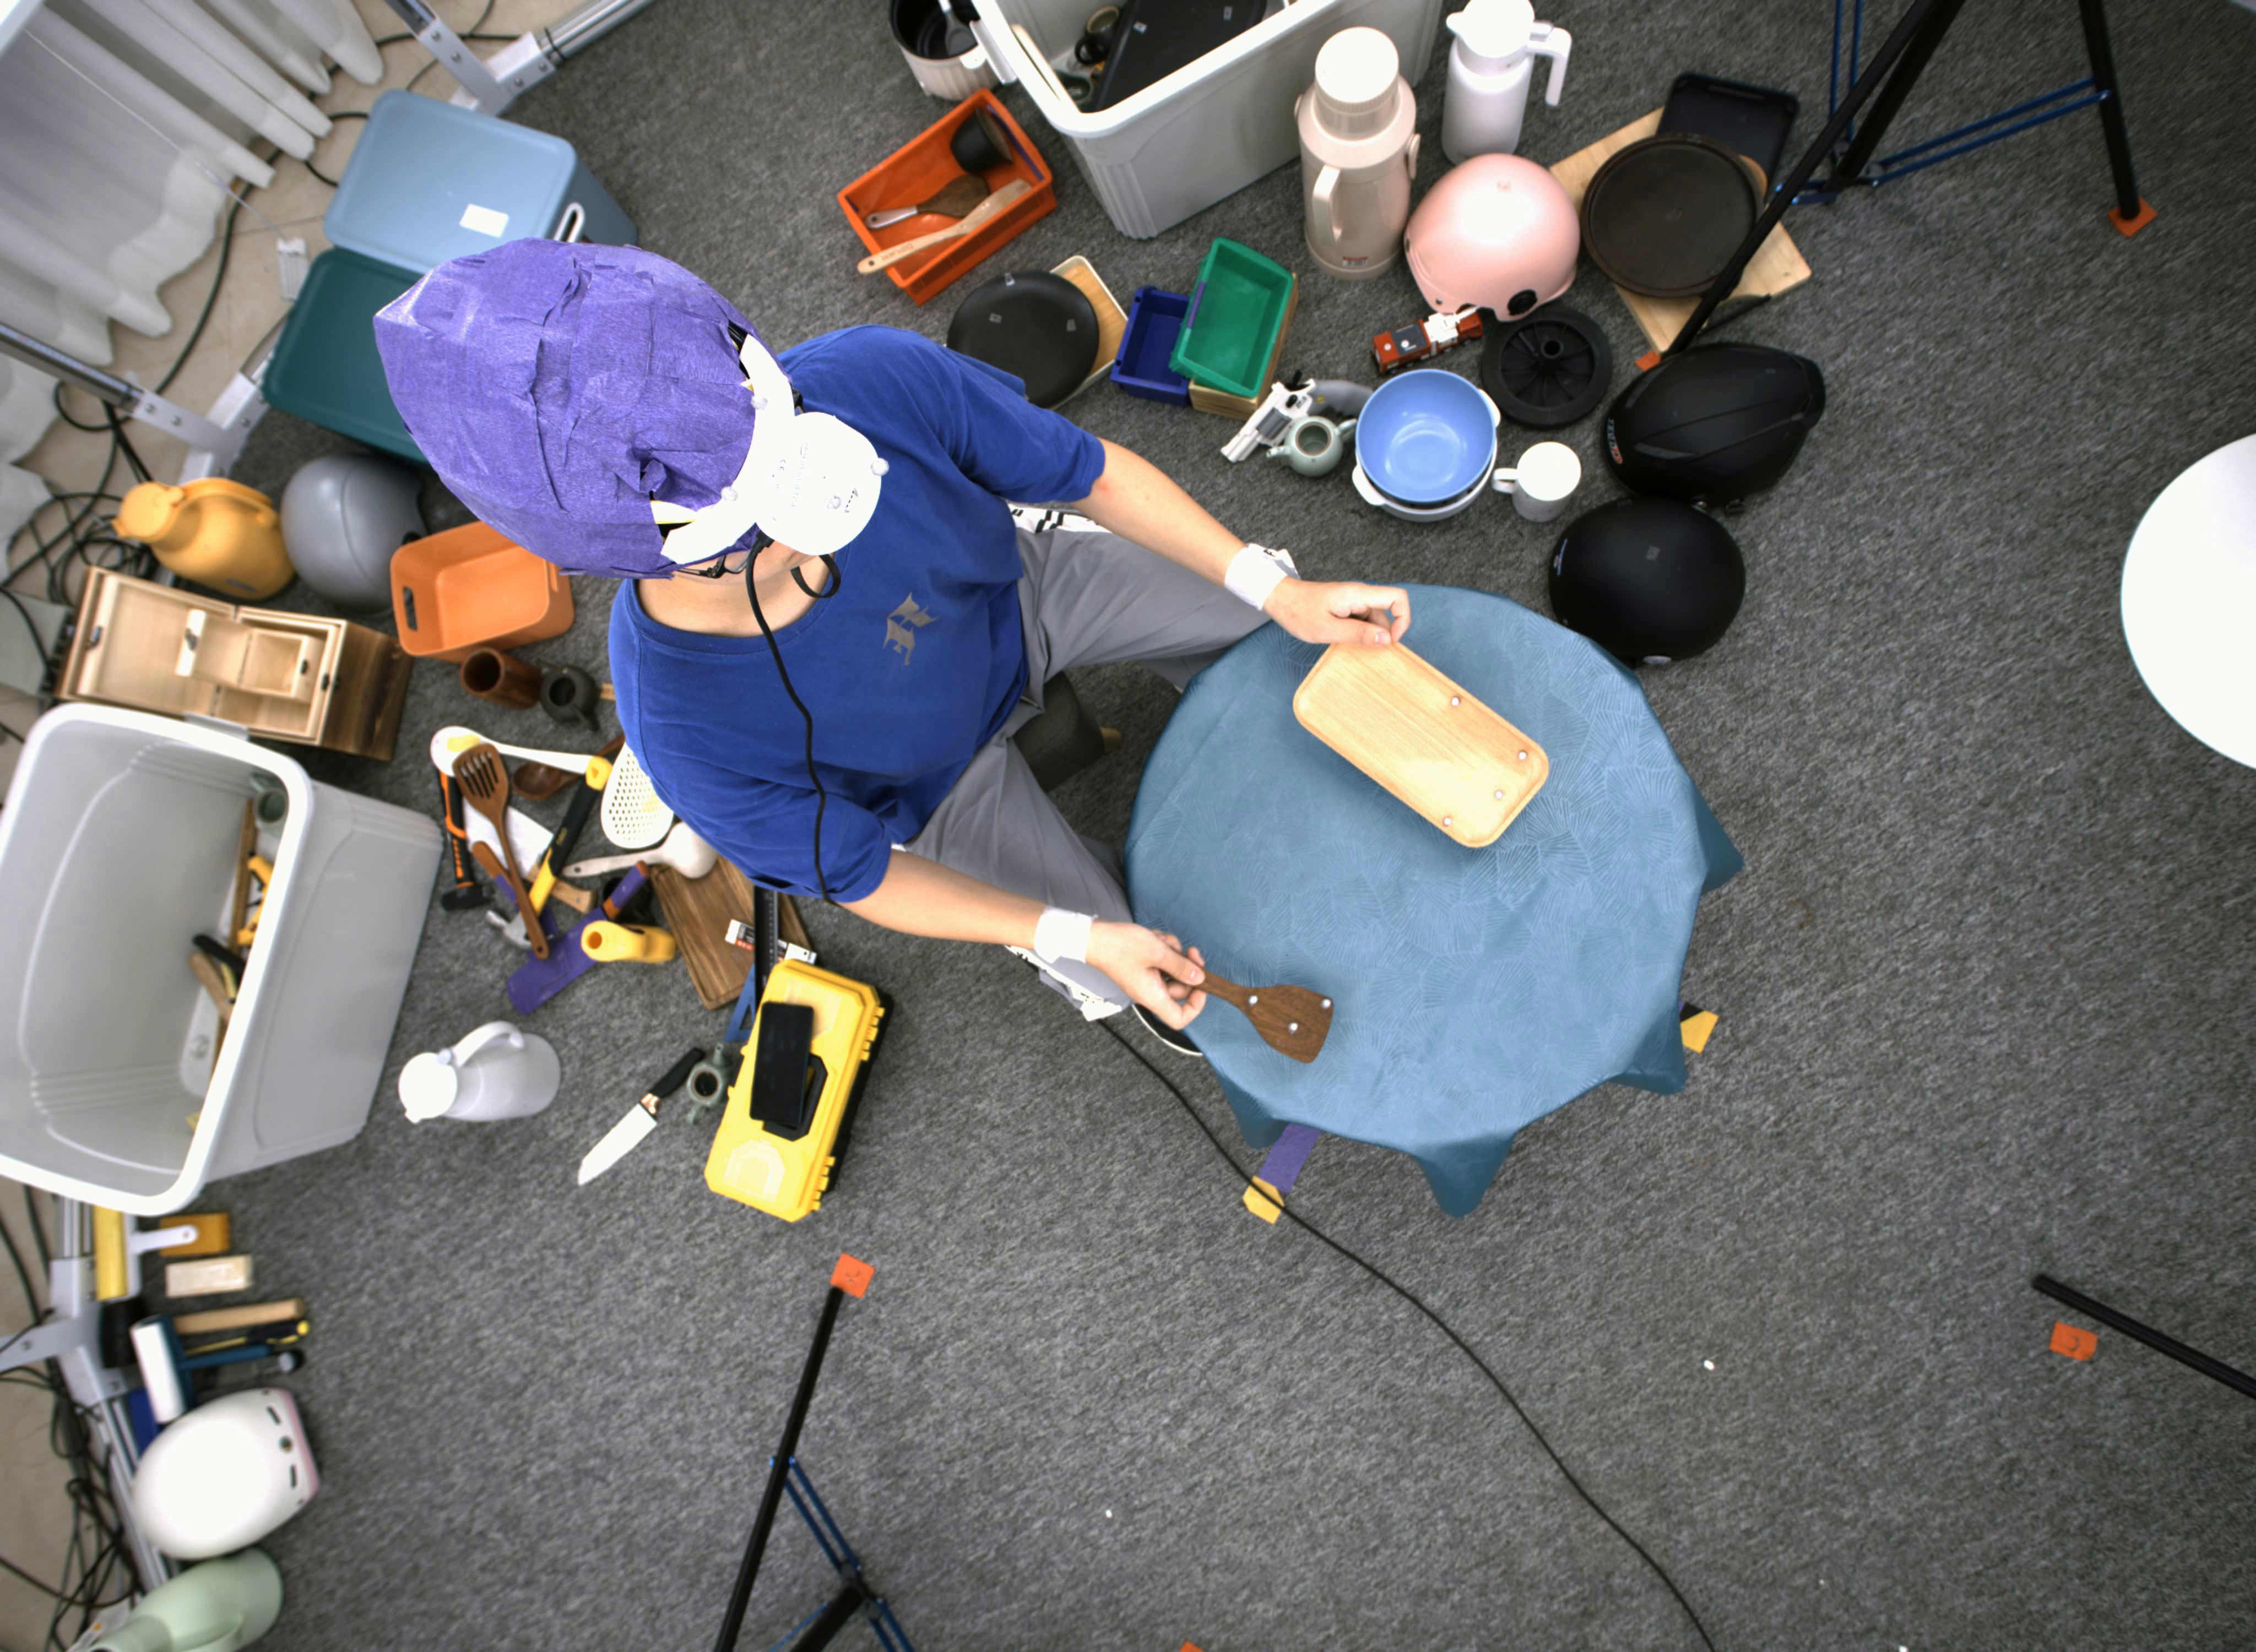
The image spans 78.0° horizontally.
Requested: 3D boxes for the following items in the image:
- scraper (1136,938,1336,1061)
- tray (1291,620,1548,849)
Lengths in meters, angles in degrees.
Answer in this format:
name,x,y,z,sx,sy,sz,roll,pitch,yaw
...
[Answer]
name,x,y,z,sx,sy,sz,roll,pitch,yaw
scraper,0.107,0.165,1.408,0.211,0.011,0.075,24,79,0
tray,0.288,-0.092,1.368,0.250,0.022,0.133,38,114,3
